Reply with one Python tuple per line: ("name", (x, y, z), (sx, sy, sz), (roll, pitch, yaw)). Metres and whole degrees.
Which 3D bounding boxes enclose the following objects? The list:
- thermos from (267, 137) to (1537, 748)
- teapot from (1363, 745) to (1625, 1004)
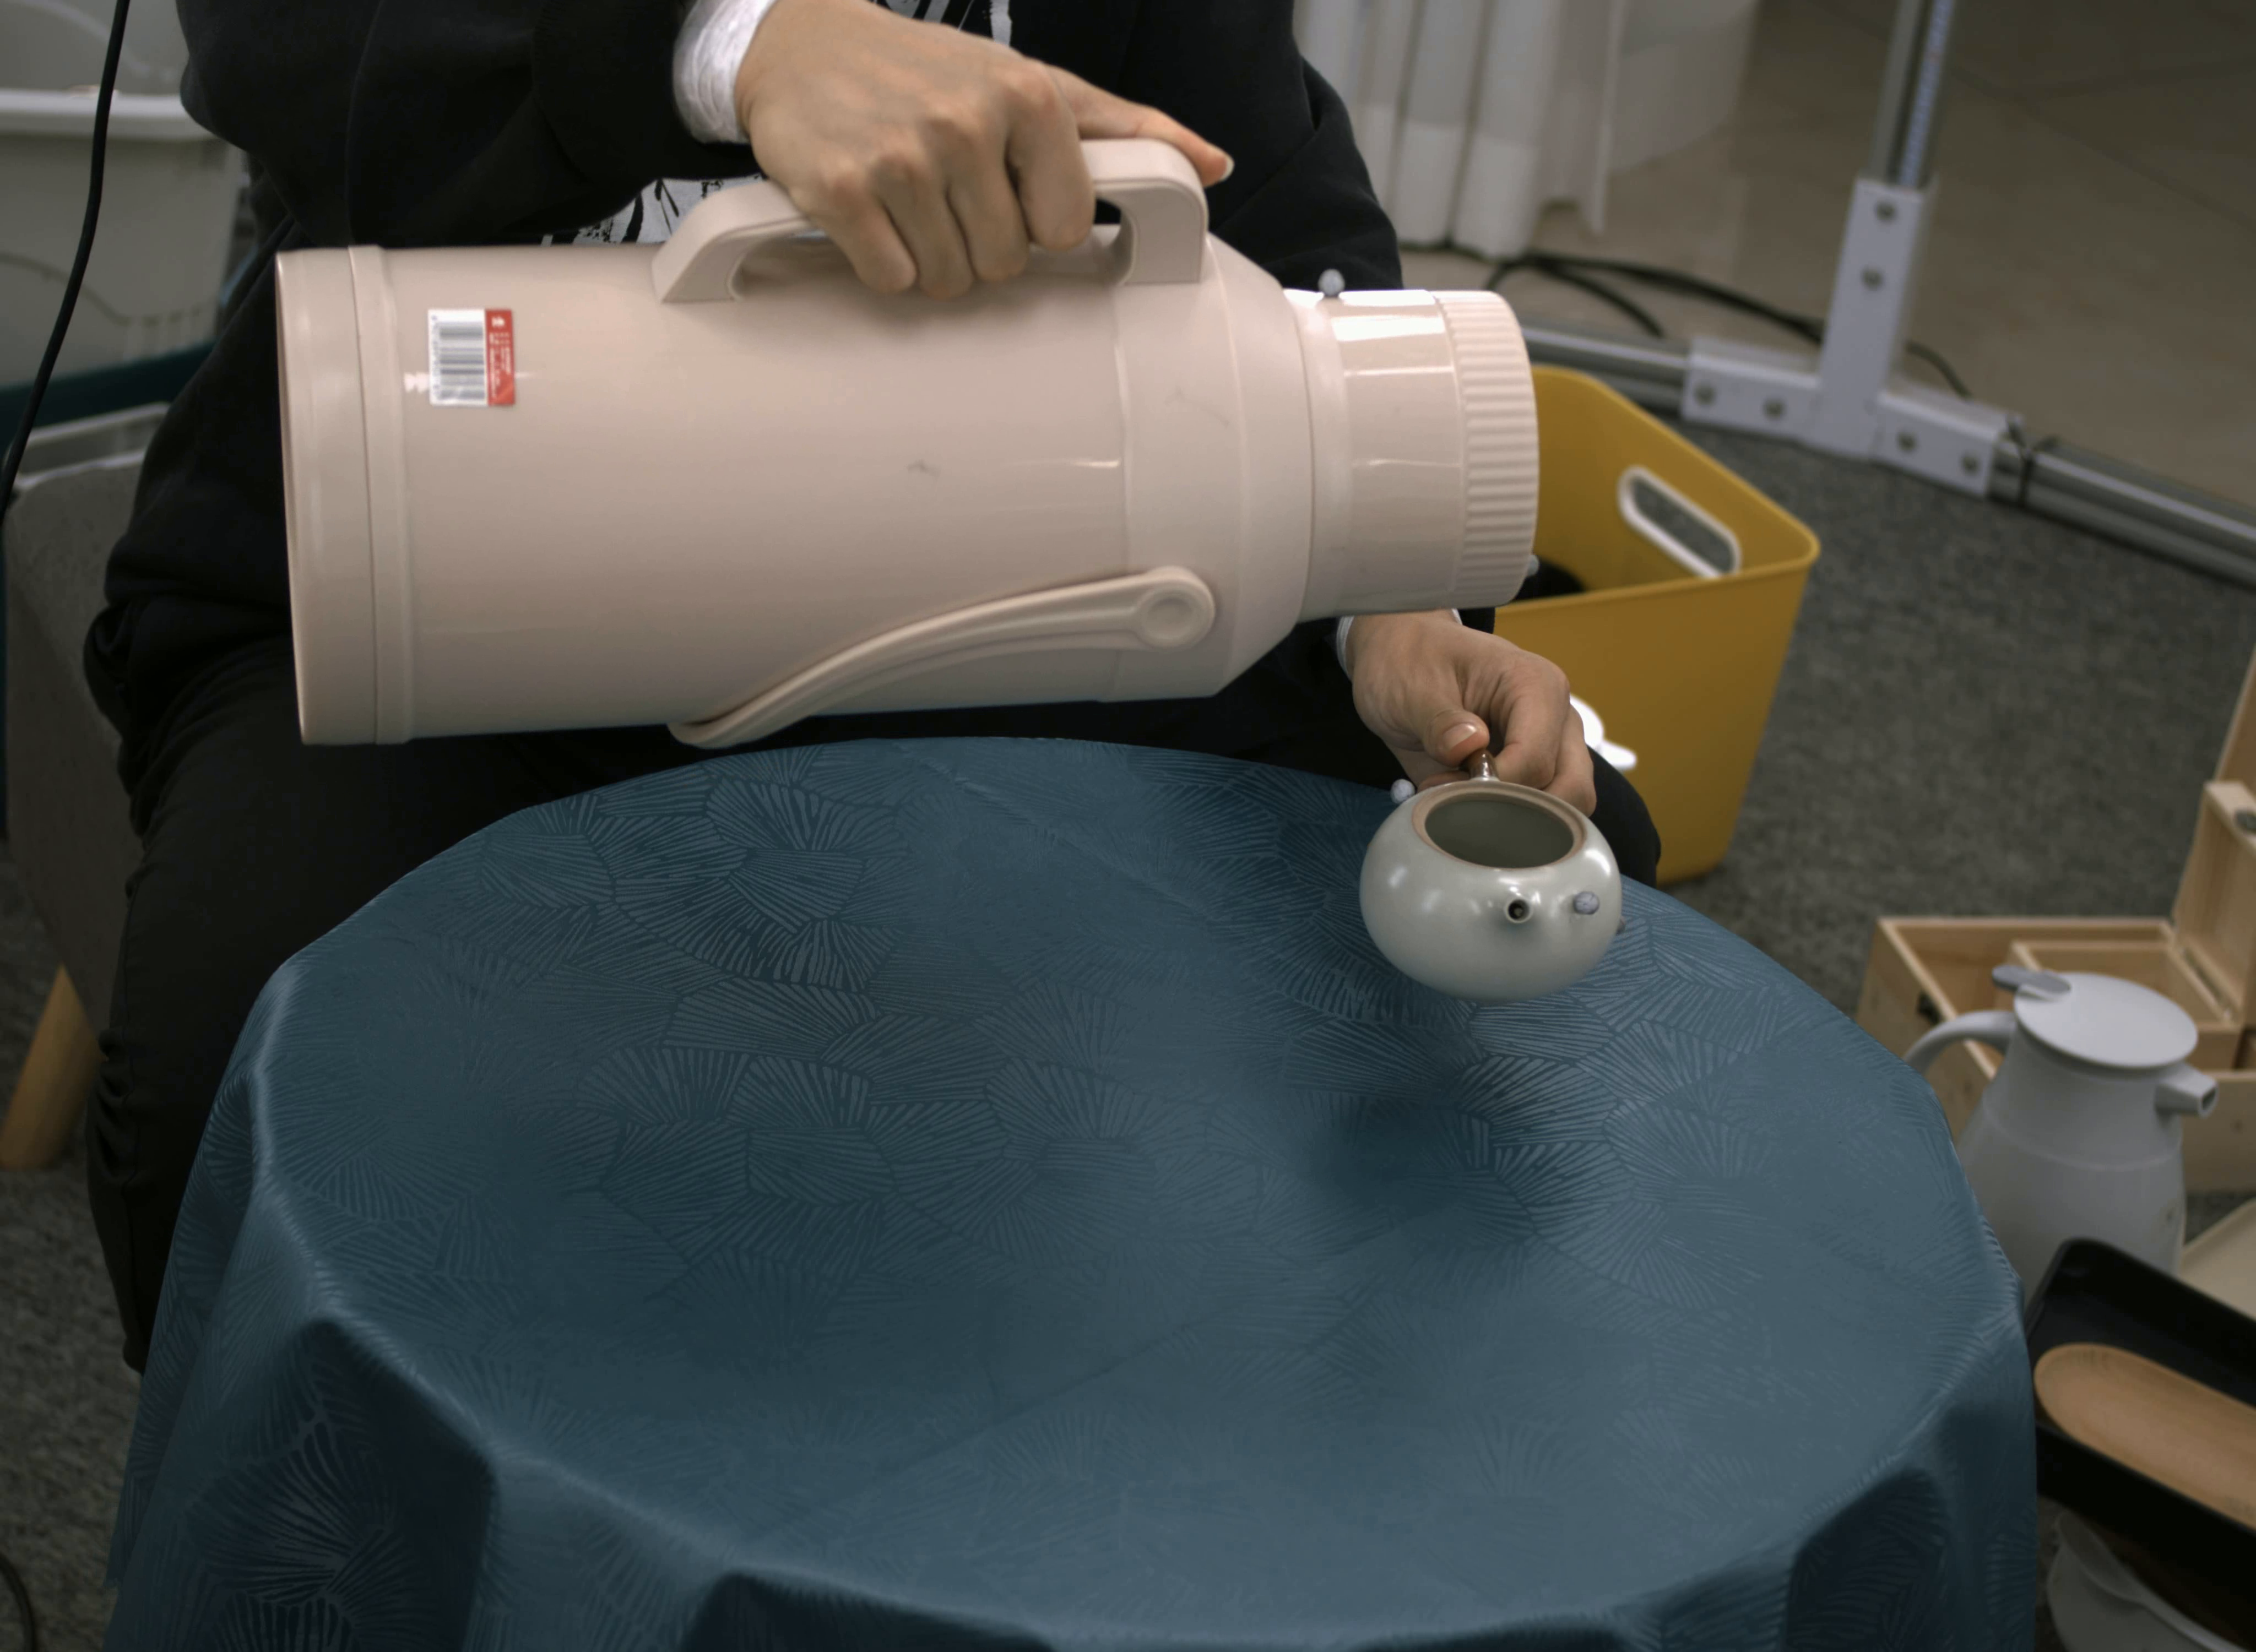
("thermos", (-0.074, -0.127, 1.732), (0.404, 0.206, 0.177), (-2, 39, -7))
("teapot", (0.127, 0.018, 1.866), (0.091, 0.059, 0.129), (-2, 31, -5))
